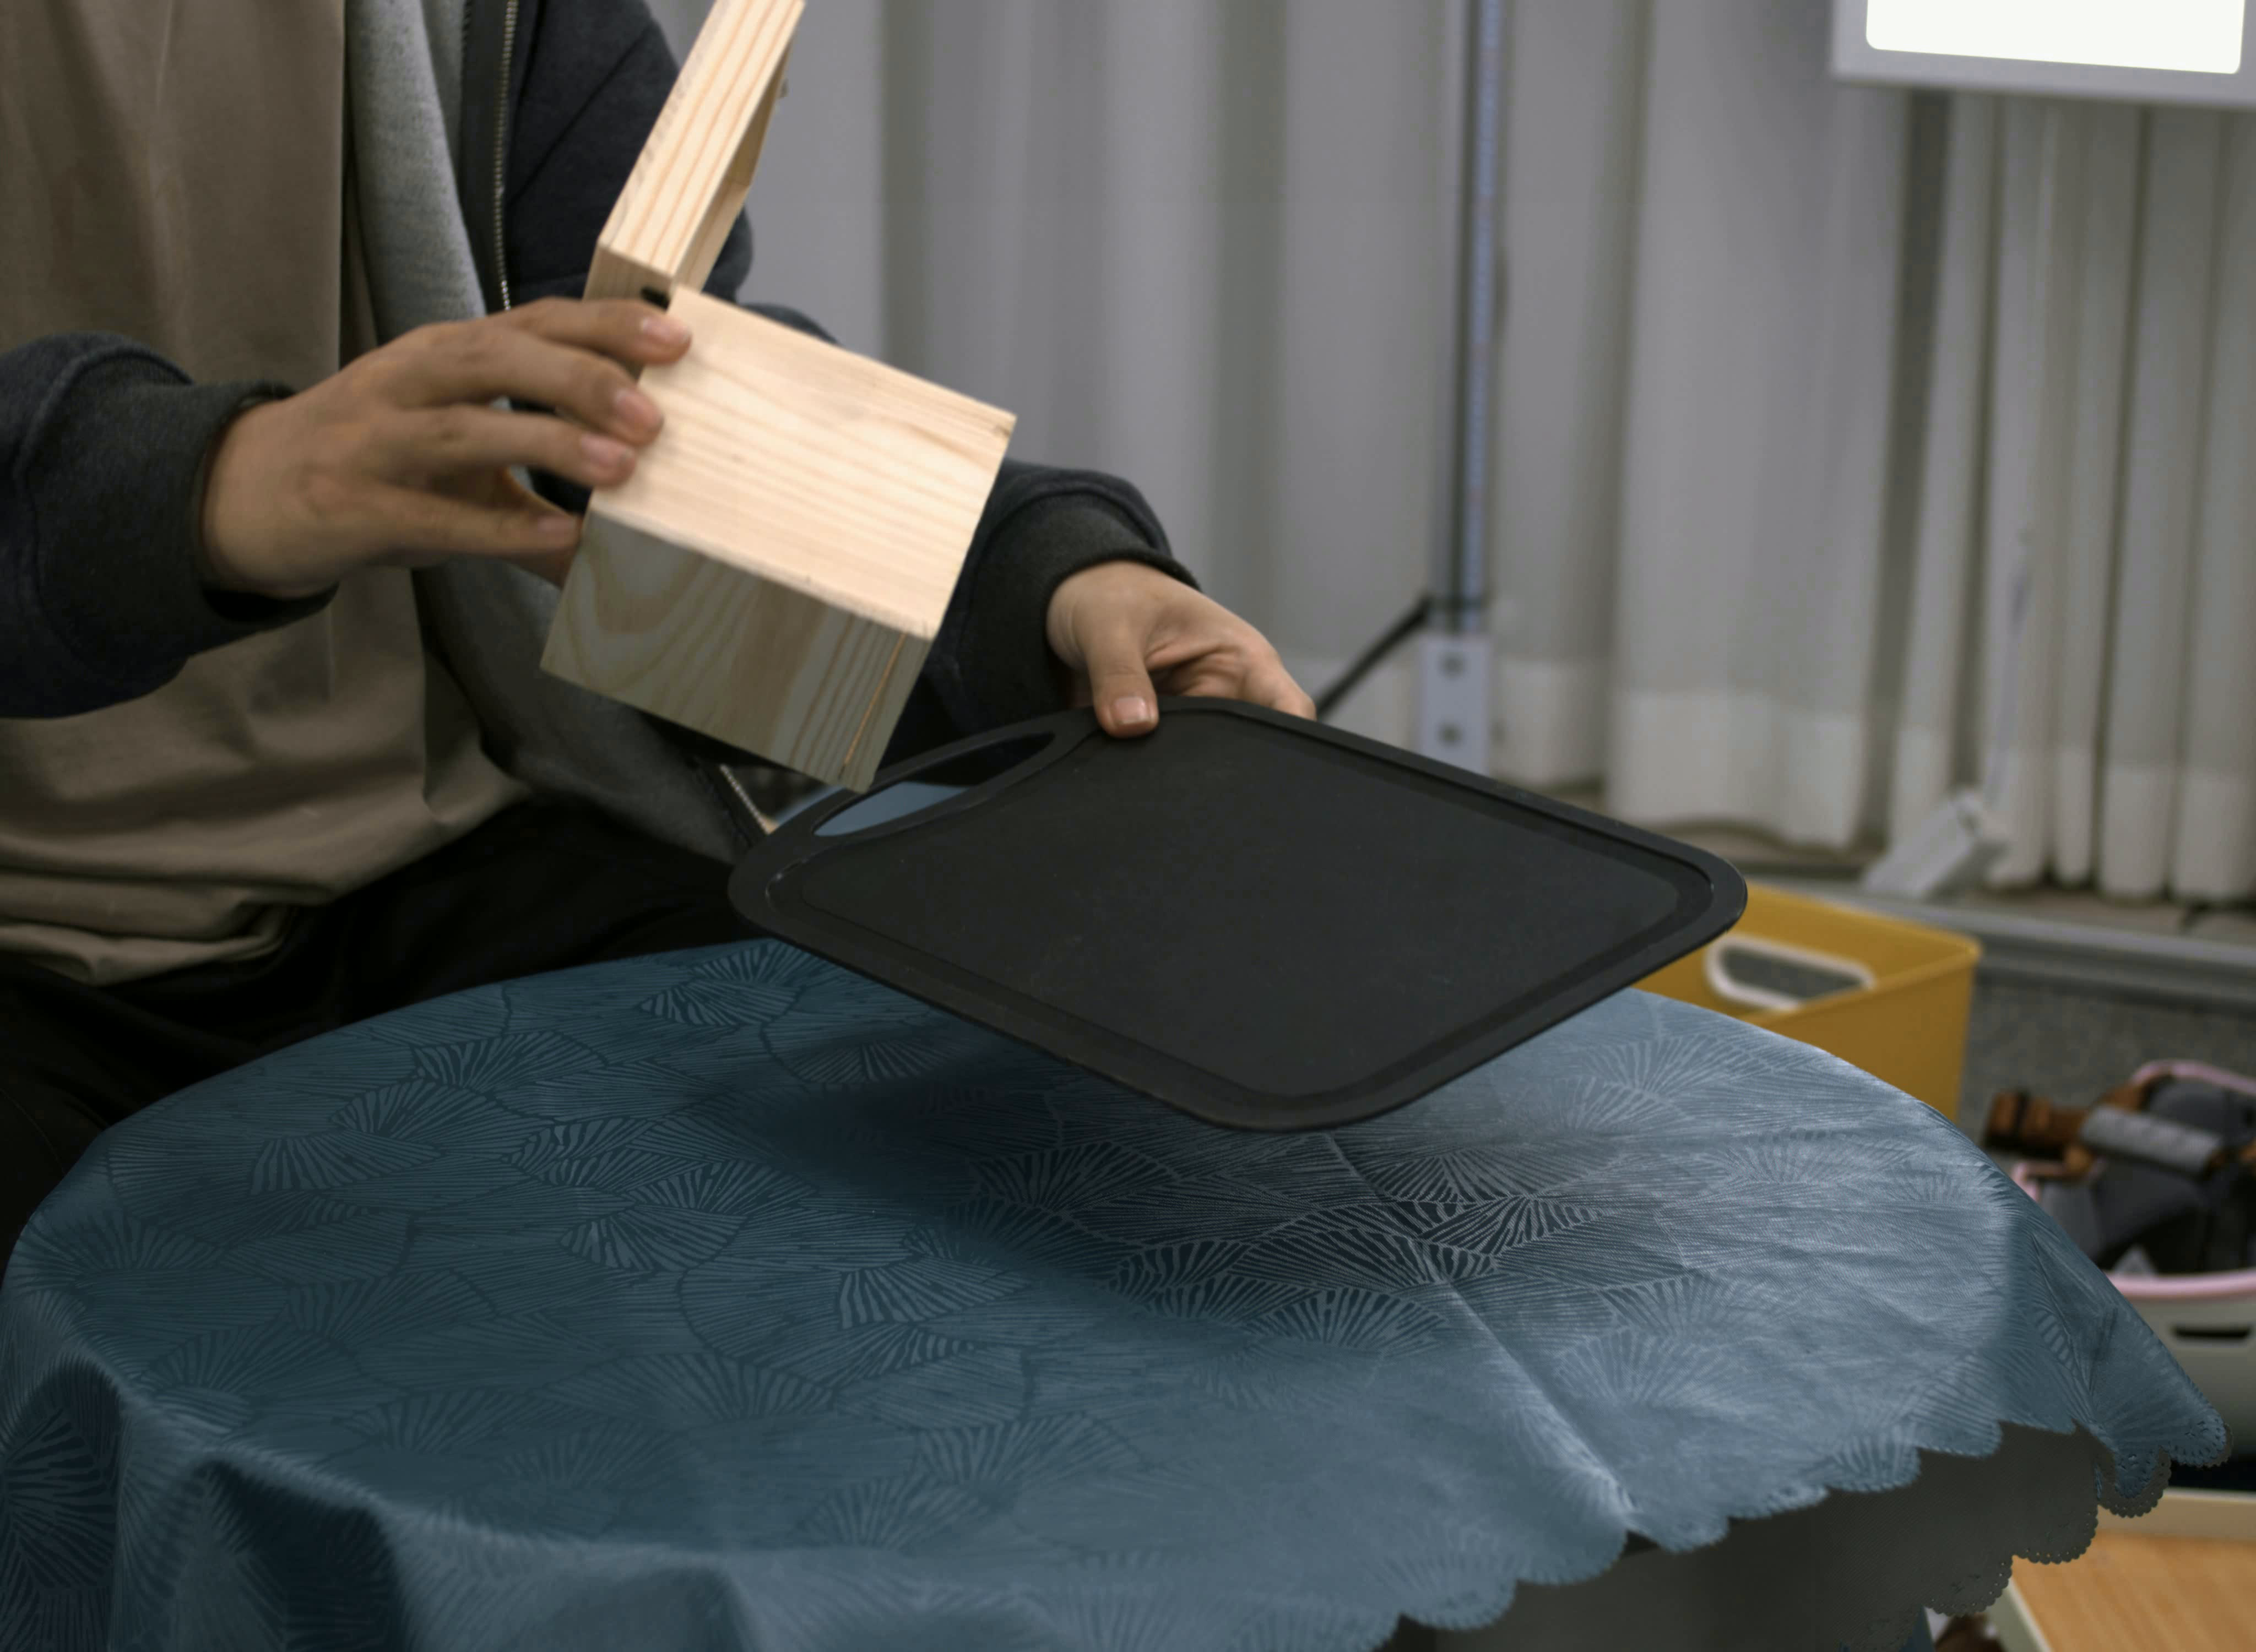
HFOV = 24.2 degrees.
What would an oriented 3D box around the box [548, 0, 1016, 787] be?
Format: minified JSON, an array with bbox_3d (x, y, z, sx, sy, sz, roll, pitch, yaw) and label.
[{"bbox_3d":[-0.093,-0.128,1.491,0.134,0.184,0.103,20,-25,-6],"label":"box"}]

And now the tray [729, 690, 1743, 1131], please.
[{"bbox_3d":[0.023,0.018,1.652,0.211,0.010,0.321,-25,30,-33],"label":"tray"}]
